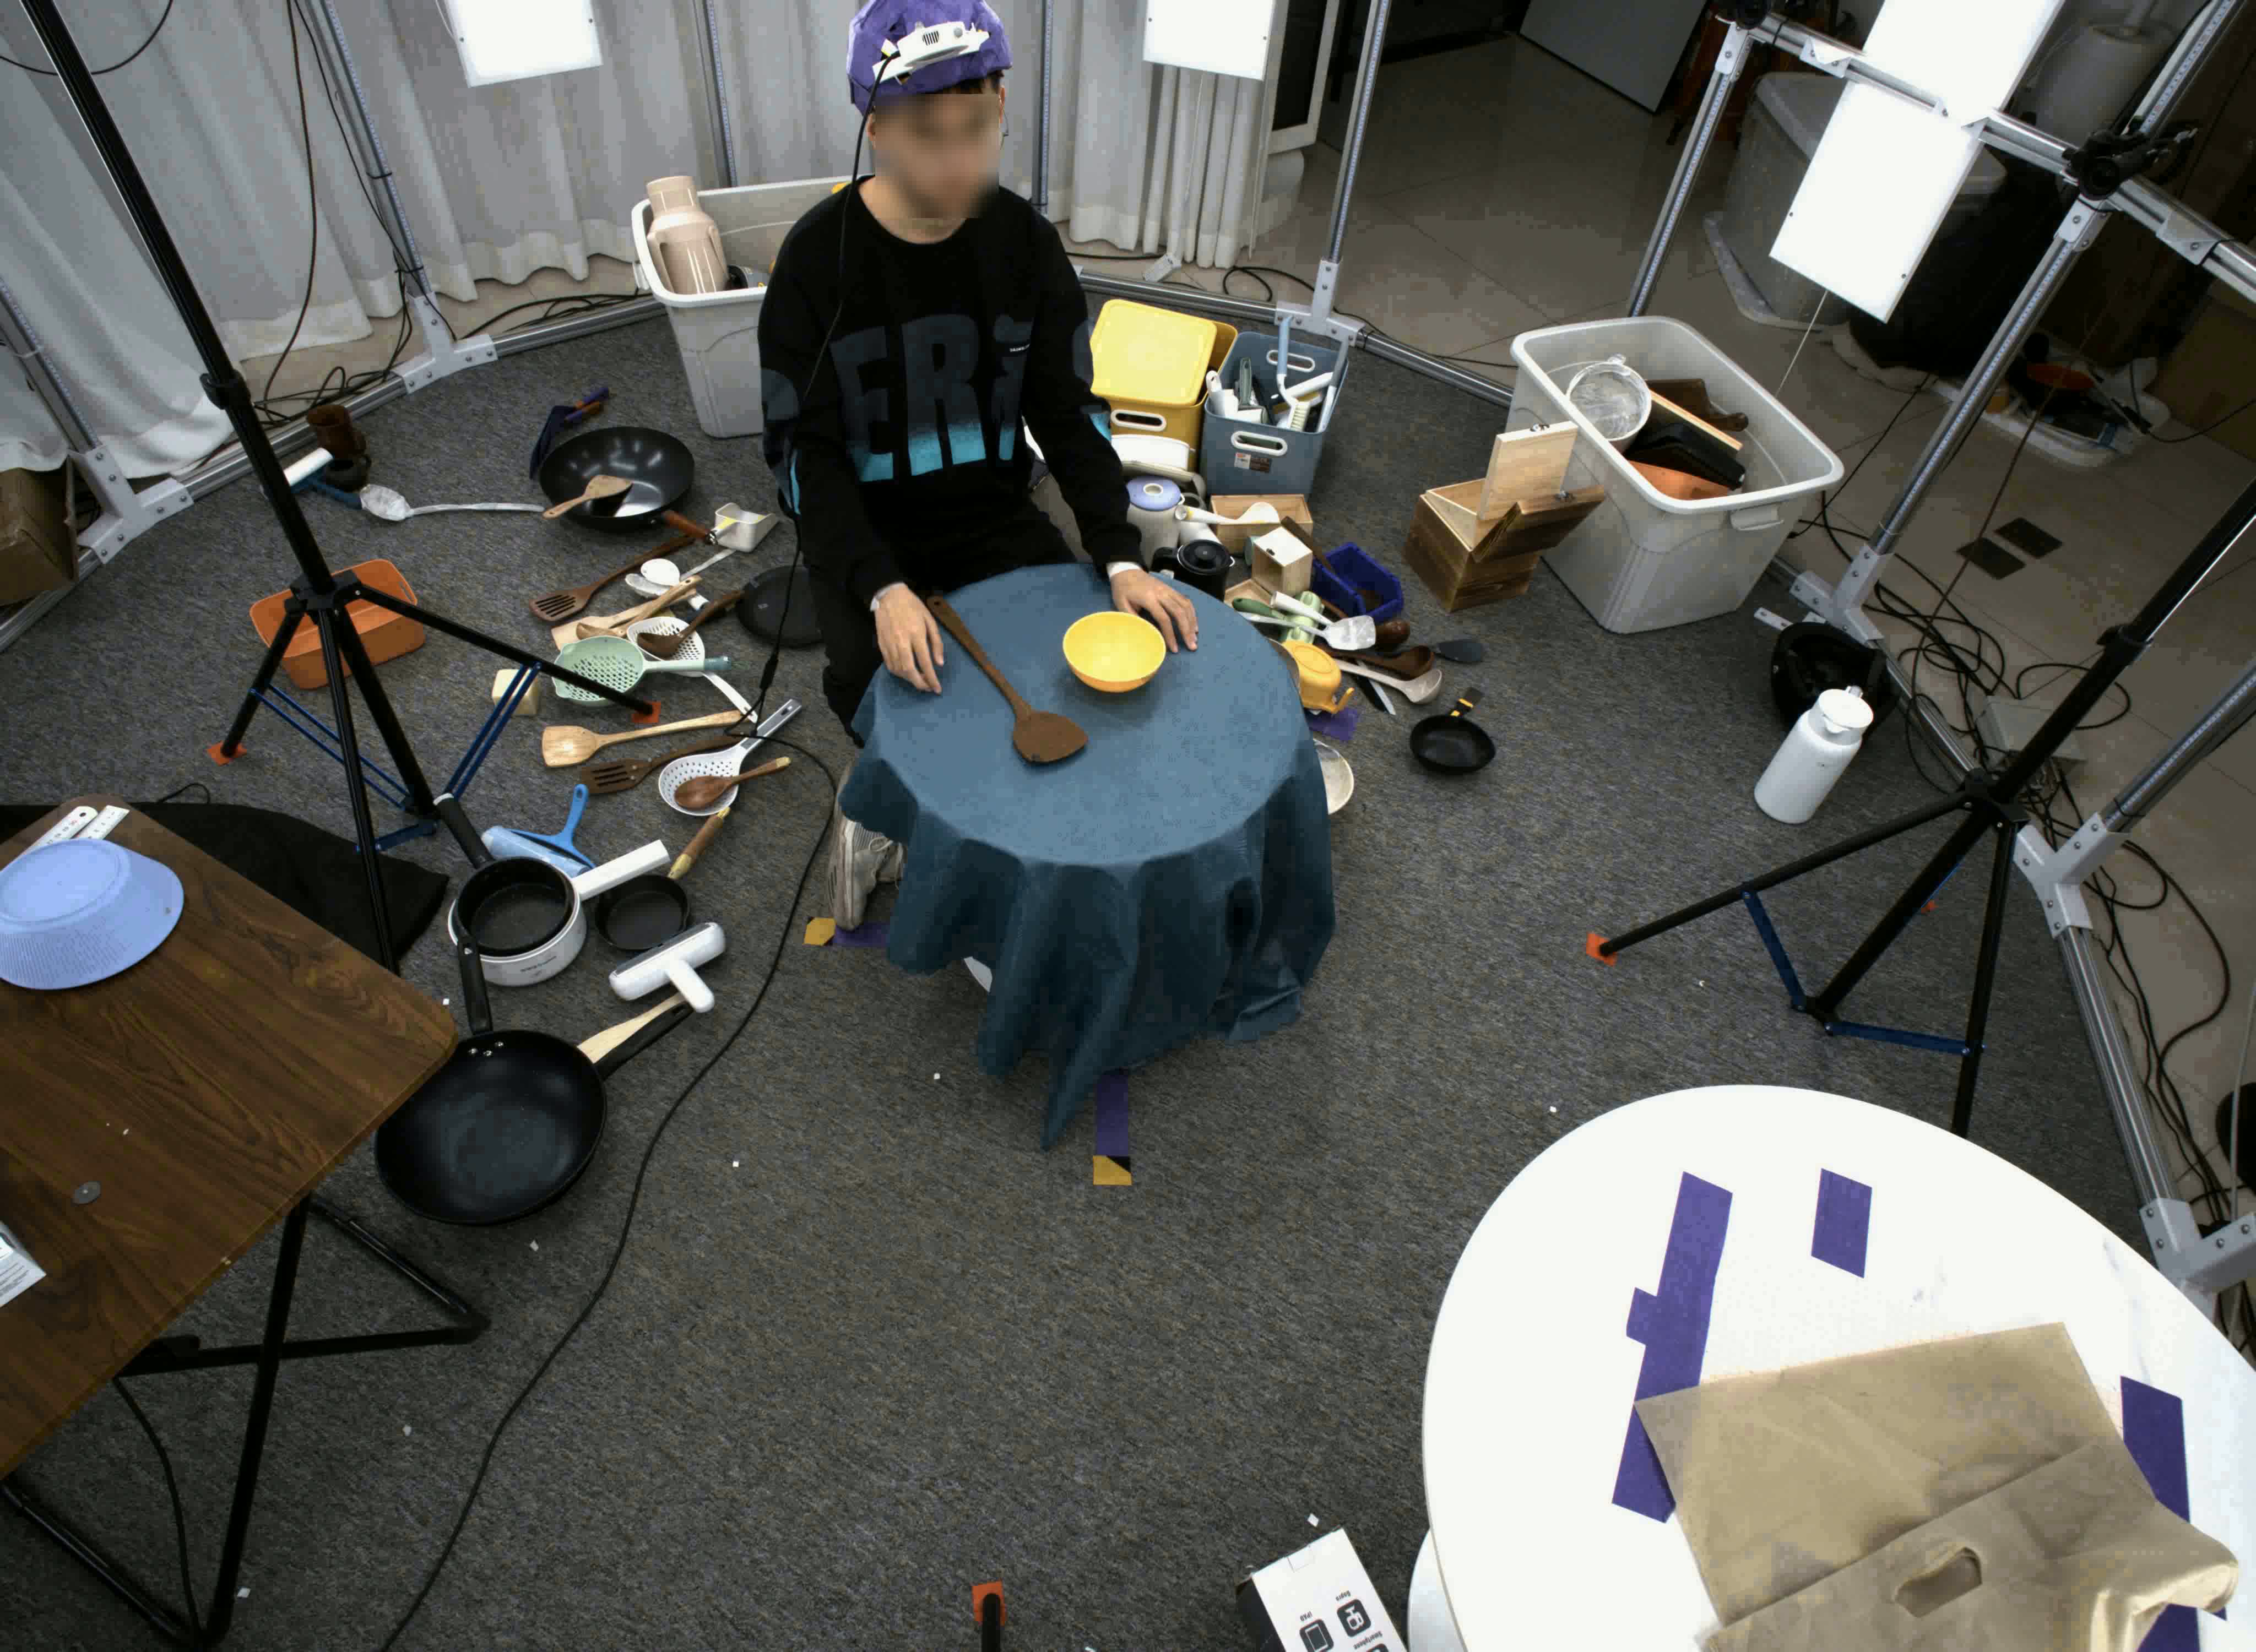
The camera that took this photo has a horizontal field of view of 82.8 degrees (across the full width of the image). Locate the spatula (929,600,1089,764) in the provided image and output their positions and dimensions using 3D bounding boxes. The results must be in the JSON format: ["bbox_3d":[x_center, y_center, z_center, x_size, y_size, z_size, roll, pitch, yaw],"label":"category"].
[{"bbox_3d":[-0.190,-0.217,1.853,0.096,0.015,0.394,-24,54,-23],"label":"spatula"}]

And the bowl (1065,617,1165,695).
[{"bbox_3d":[-0.020,-0.234,1.851,0.145,0.058,0.149,2,46,-3],"label":"bowl"}]
